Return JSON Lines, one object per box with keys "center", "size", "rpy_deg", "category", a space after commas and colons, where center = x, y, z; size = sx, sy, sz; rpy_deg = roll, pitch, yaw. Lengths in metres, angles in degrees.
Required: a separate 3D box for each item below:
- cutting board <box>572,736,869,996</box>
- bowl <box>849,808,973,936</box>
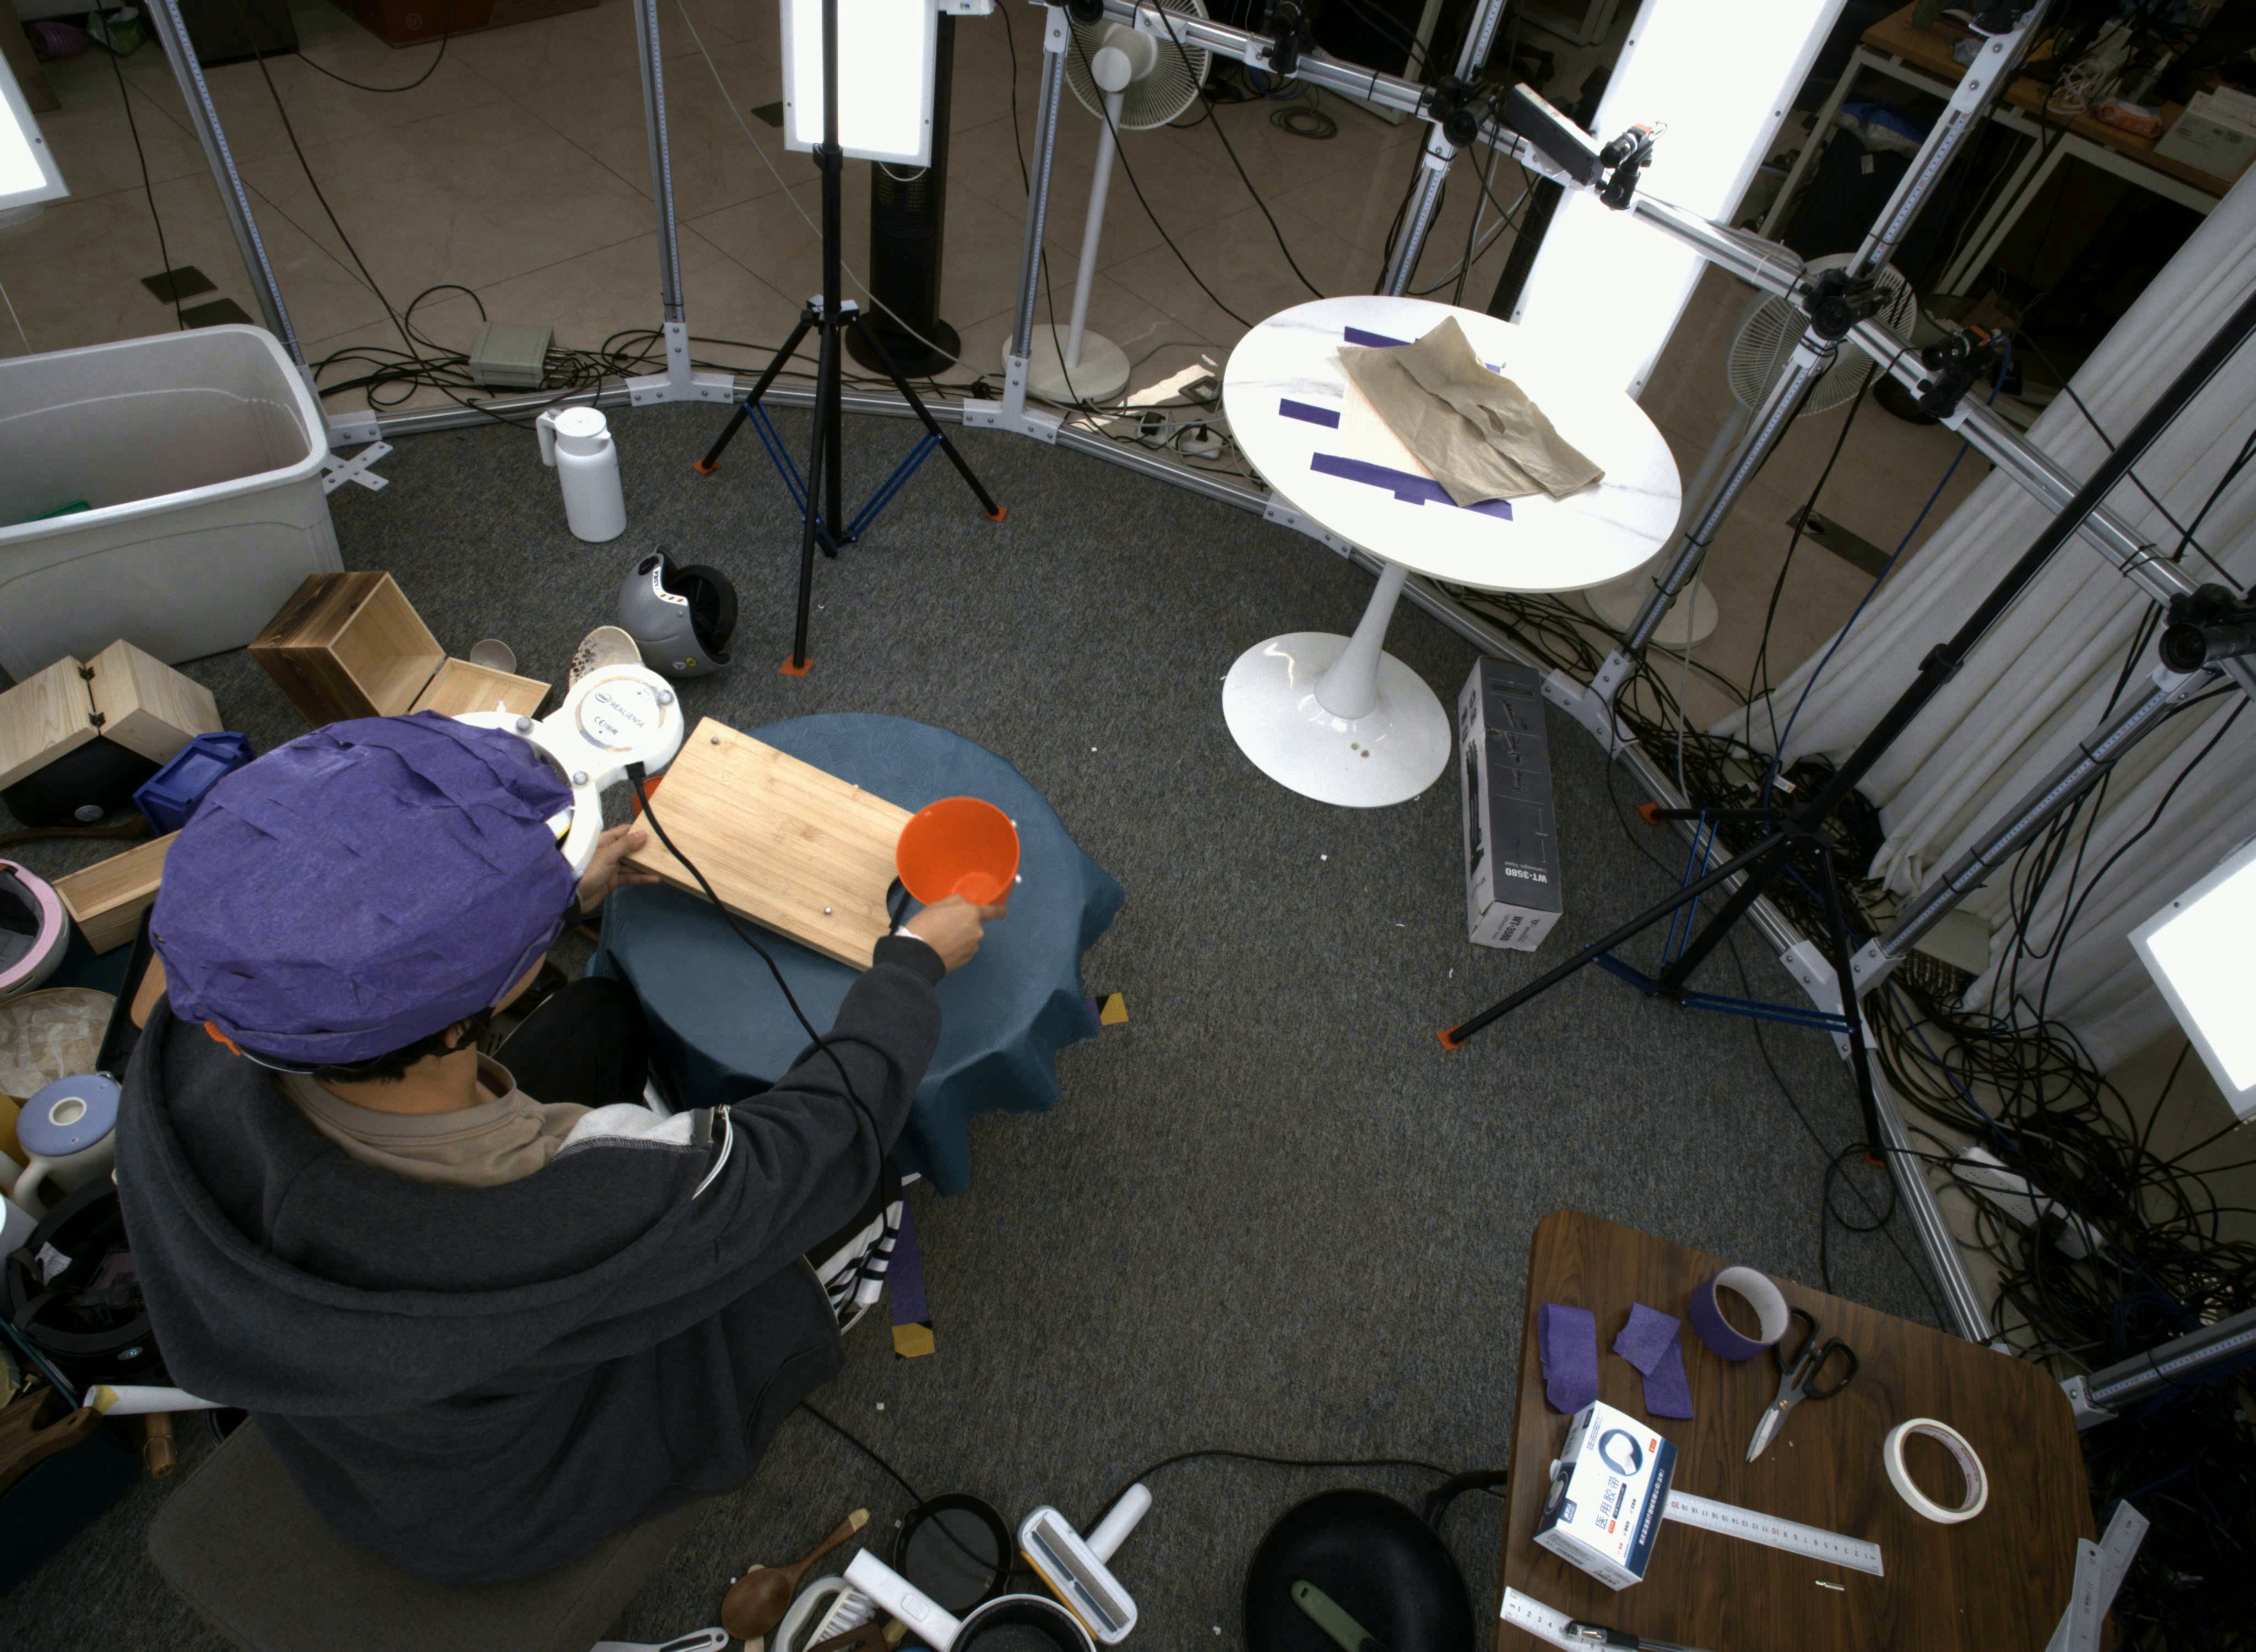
{"center": [-0.490, 0.044, 1.622], "size": [0.351, 0.024, 0.247], "rpy_deg": [23, 51, -13], "category": "cutting board"}
{"center": [-0.252, 0.067, 1.567], "size": [0.146, 0.108, 0.146], "rpy_deg": [-1, 57, 3], "category": "bowl"}
